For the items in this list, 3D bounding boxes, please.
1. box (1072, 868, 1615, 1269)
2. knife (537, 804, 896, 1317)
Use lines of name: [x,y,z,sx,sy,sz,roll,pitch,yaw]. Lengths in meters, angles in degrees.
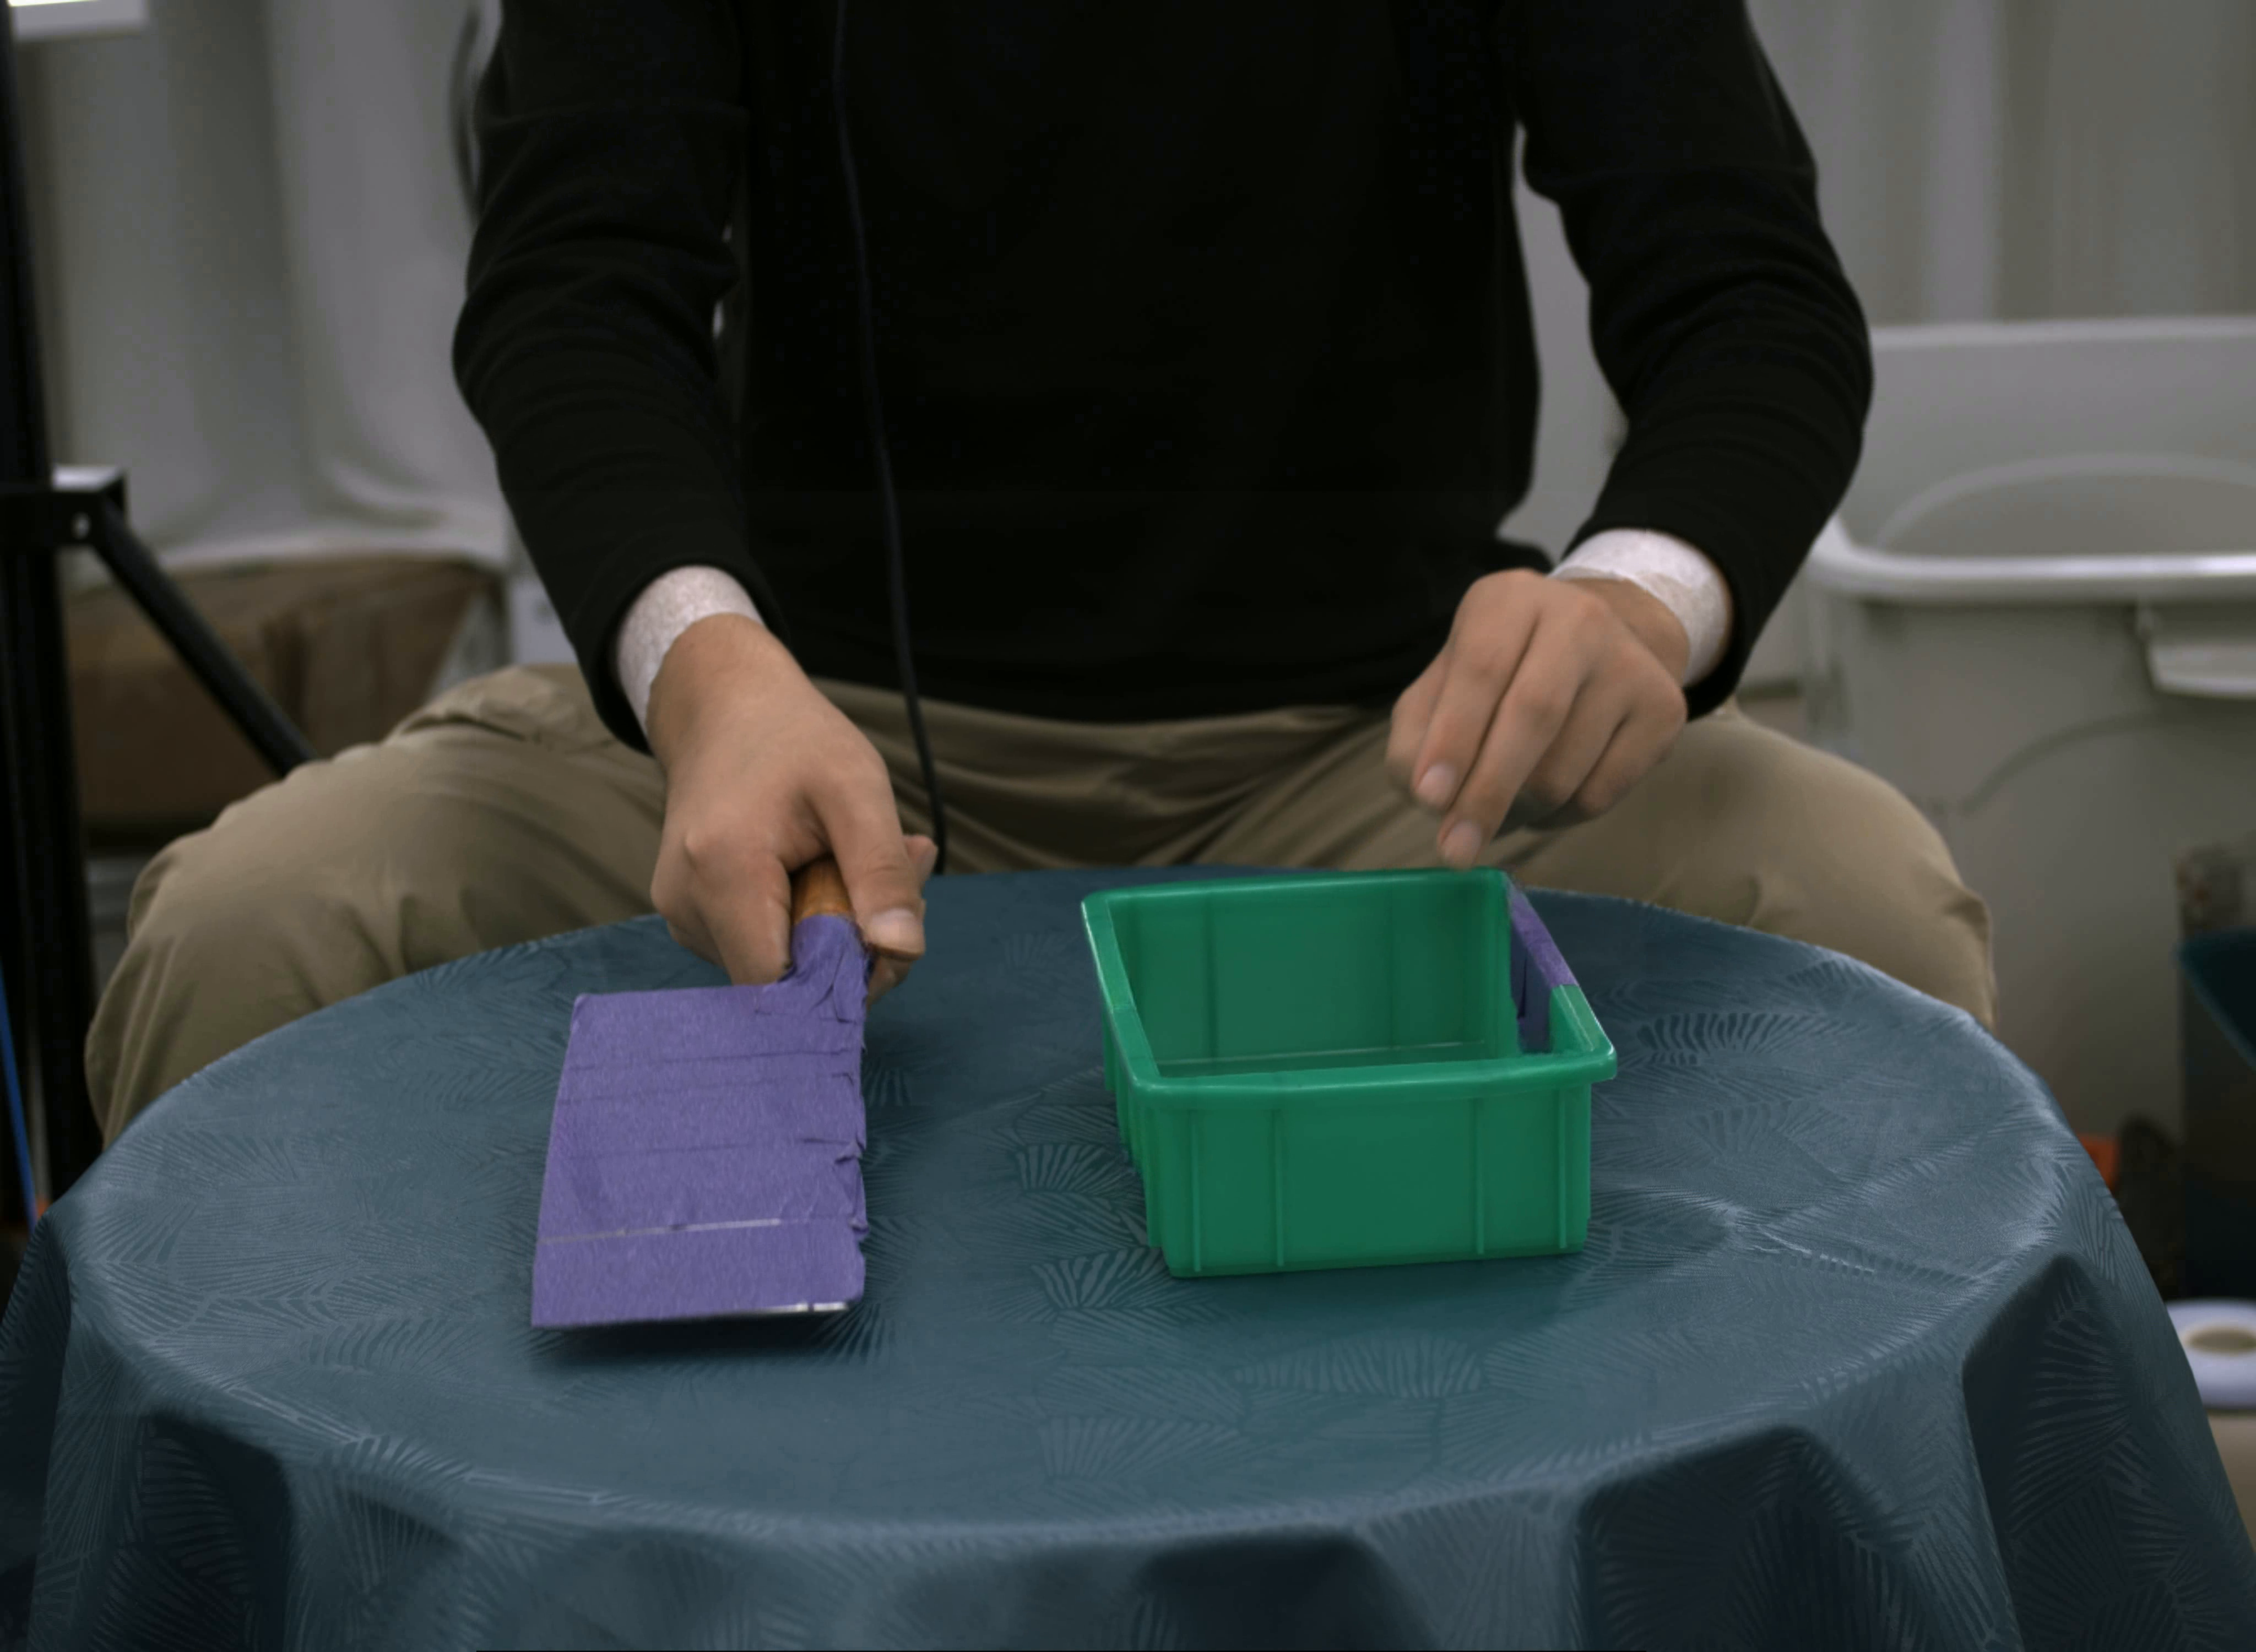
box: [0.060,0.070,1.566,0.137,0.065,0.212,-2,14,-5]
knife: [-0.121,0.065,1.582,0.103,0.032,0.317,-3,21,-1]
